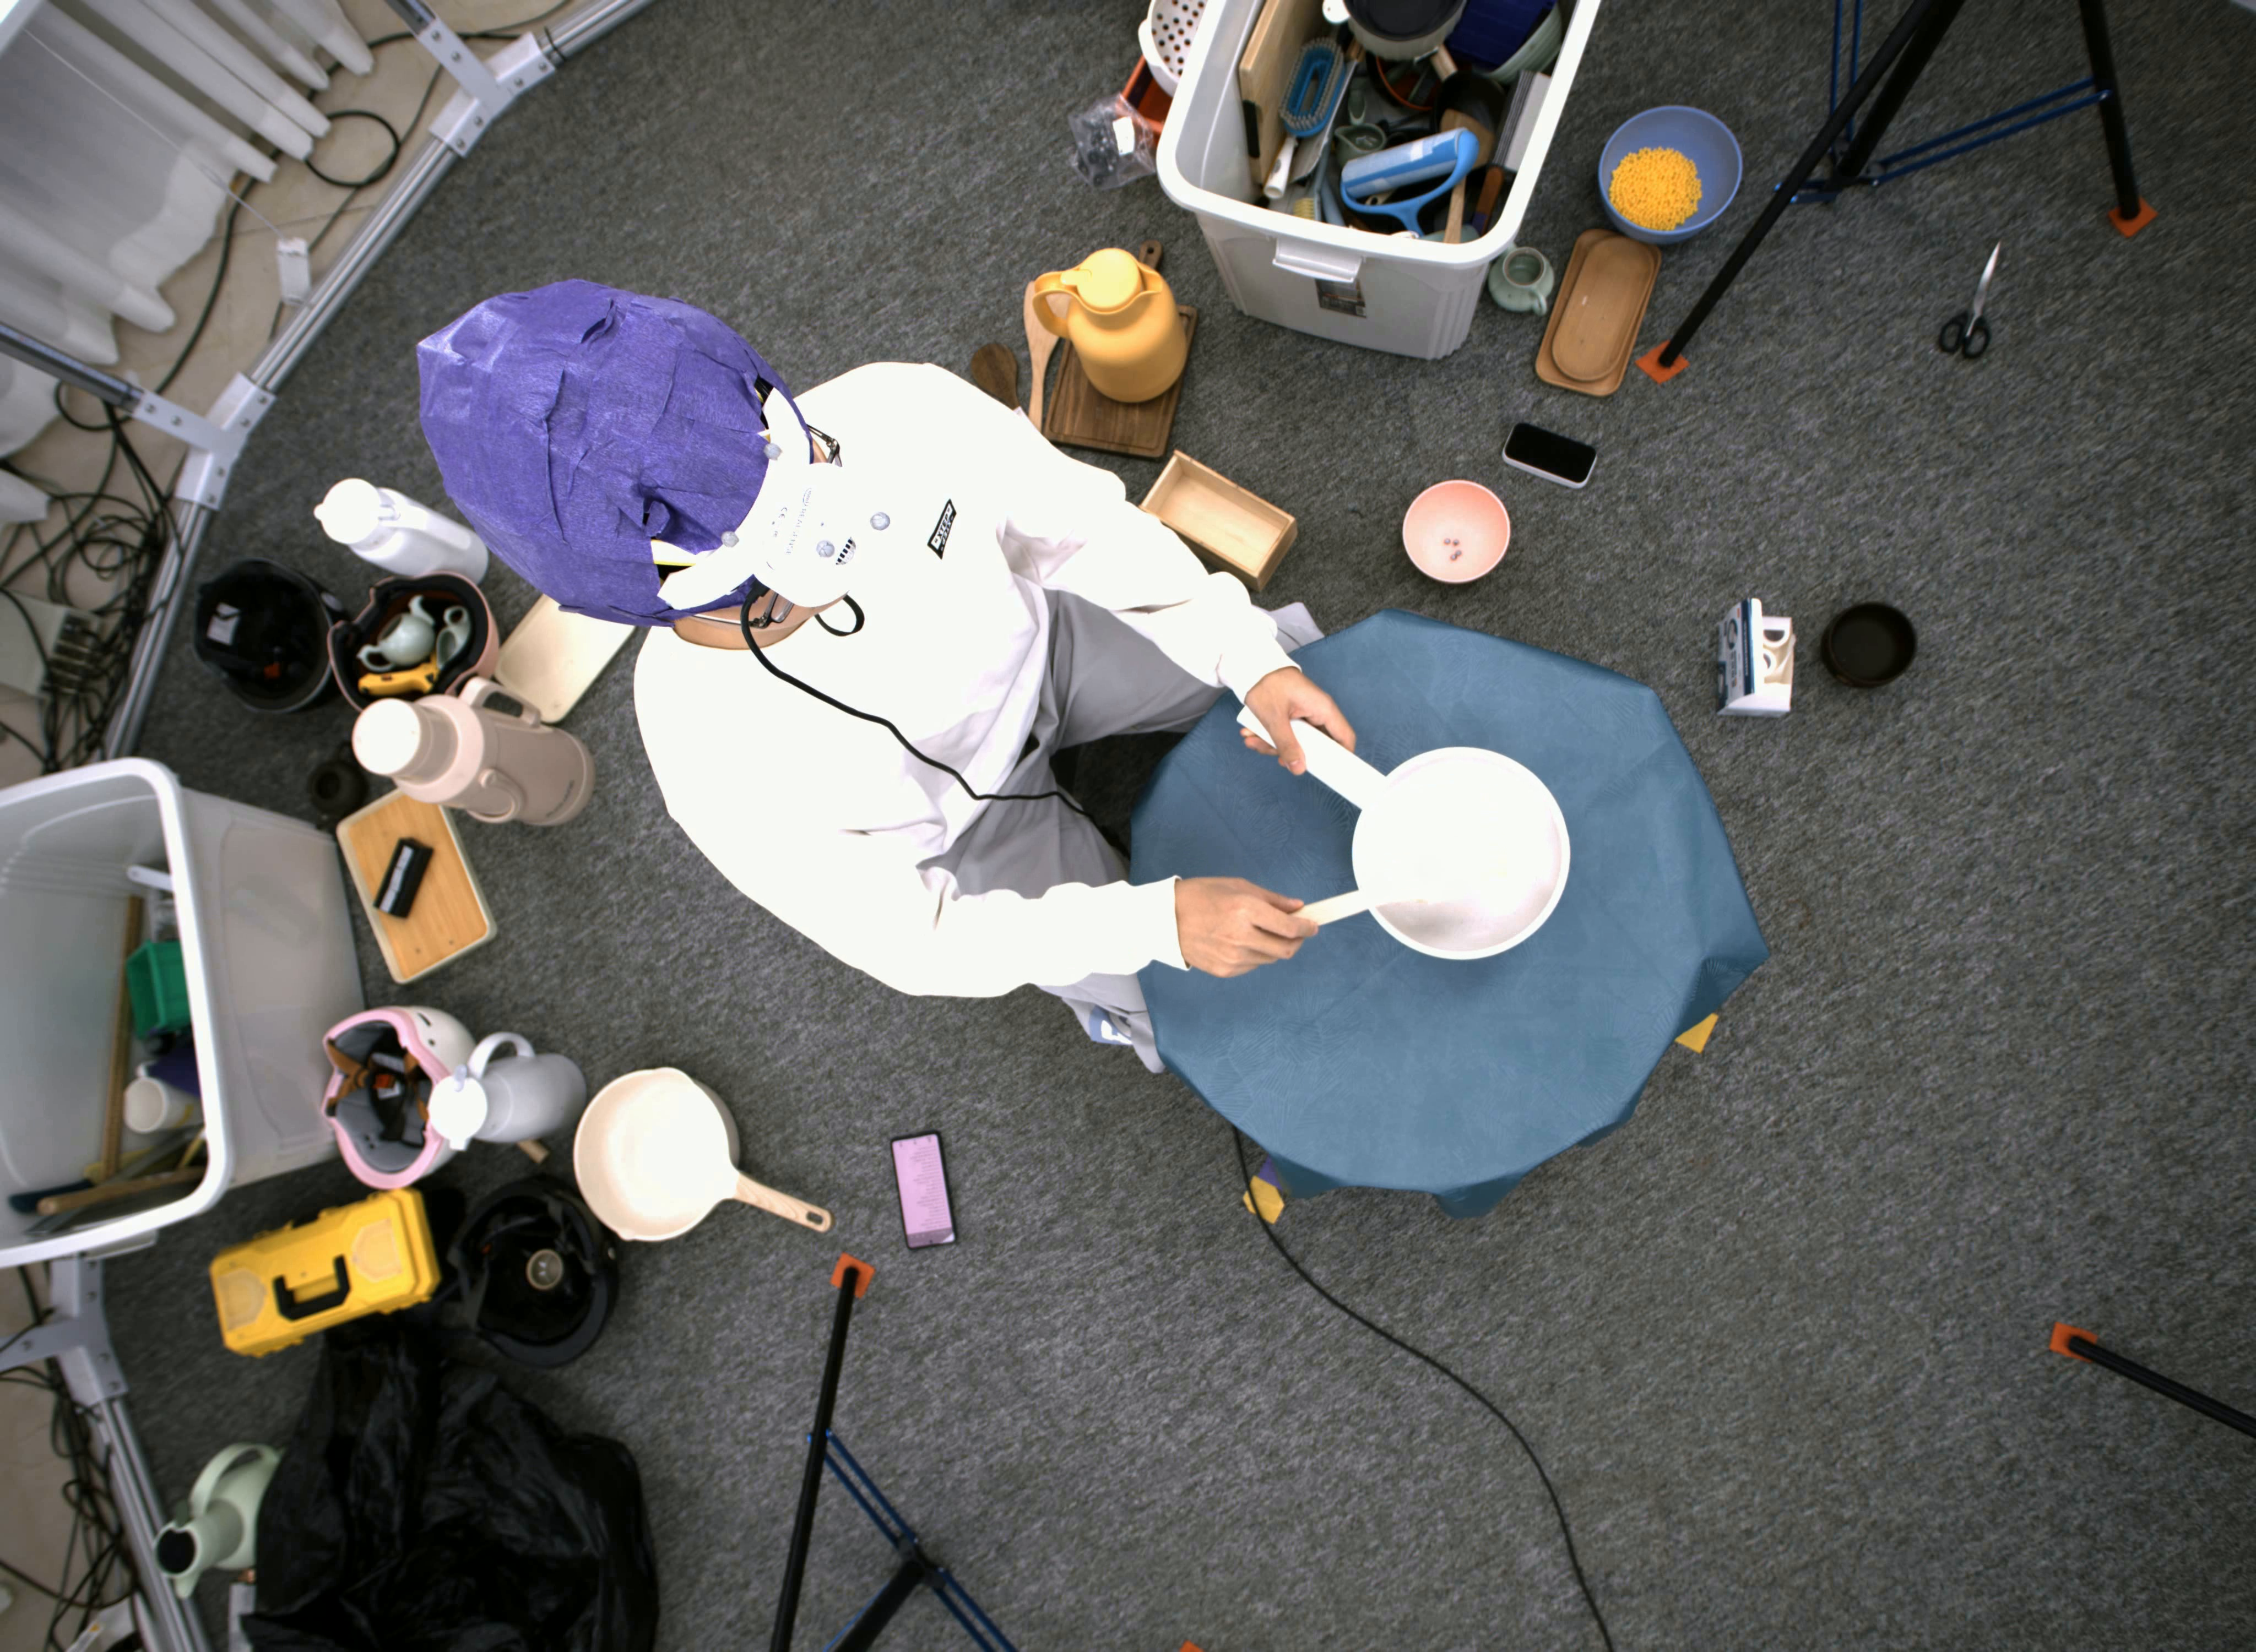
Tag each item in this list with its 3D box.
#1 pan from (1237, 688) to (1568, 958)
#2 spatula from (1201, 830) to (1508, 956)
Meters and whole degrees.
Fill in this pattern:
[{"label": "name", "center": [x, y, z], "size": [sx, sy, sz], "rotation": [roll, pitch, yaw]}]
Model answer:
[{"label": "pan", "center": [0.265, -0.017, 1.368], "size": [0.353, 0.102, 0.202], "rotation": [36, 98, 14]}, {"label": "spatula", "center": [0.207, 0.069, 1.294], "size": [0.294, 0.070, 0.011], "rotation": [-19, 125, 7]}]
